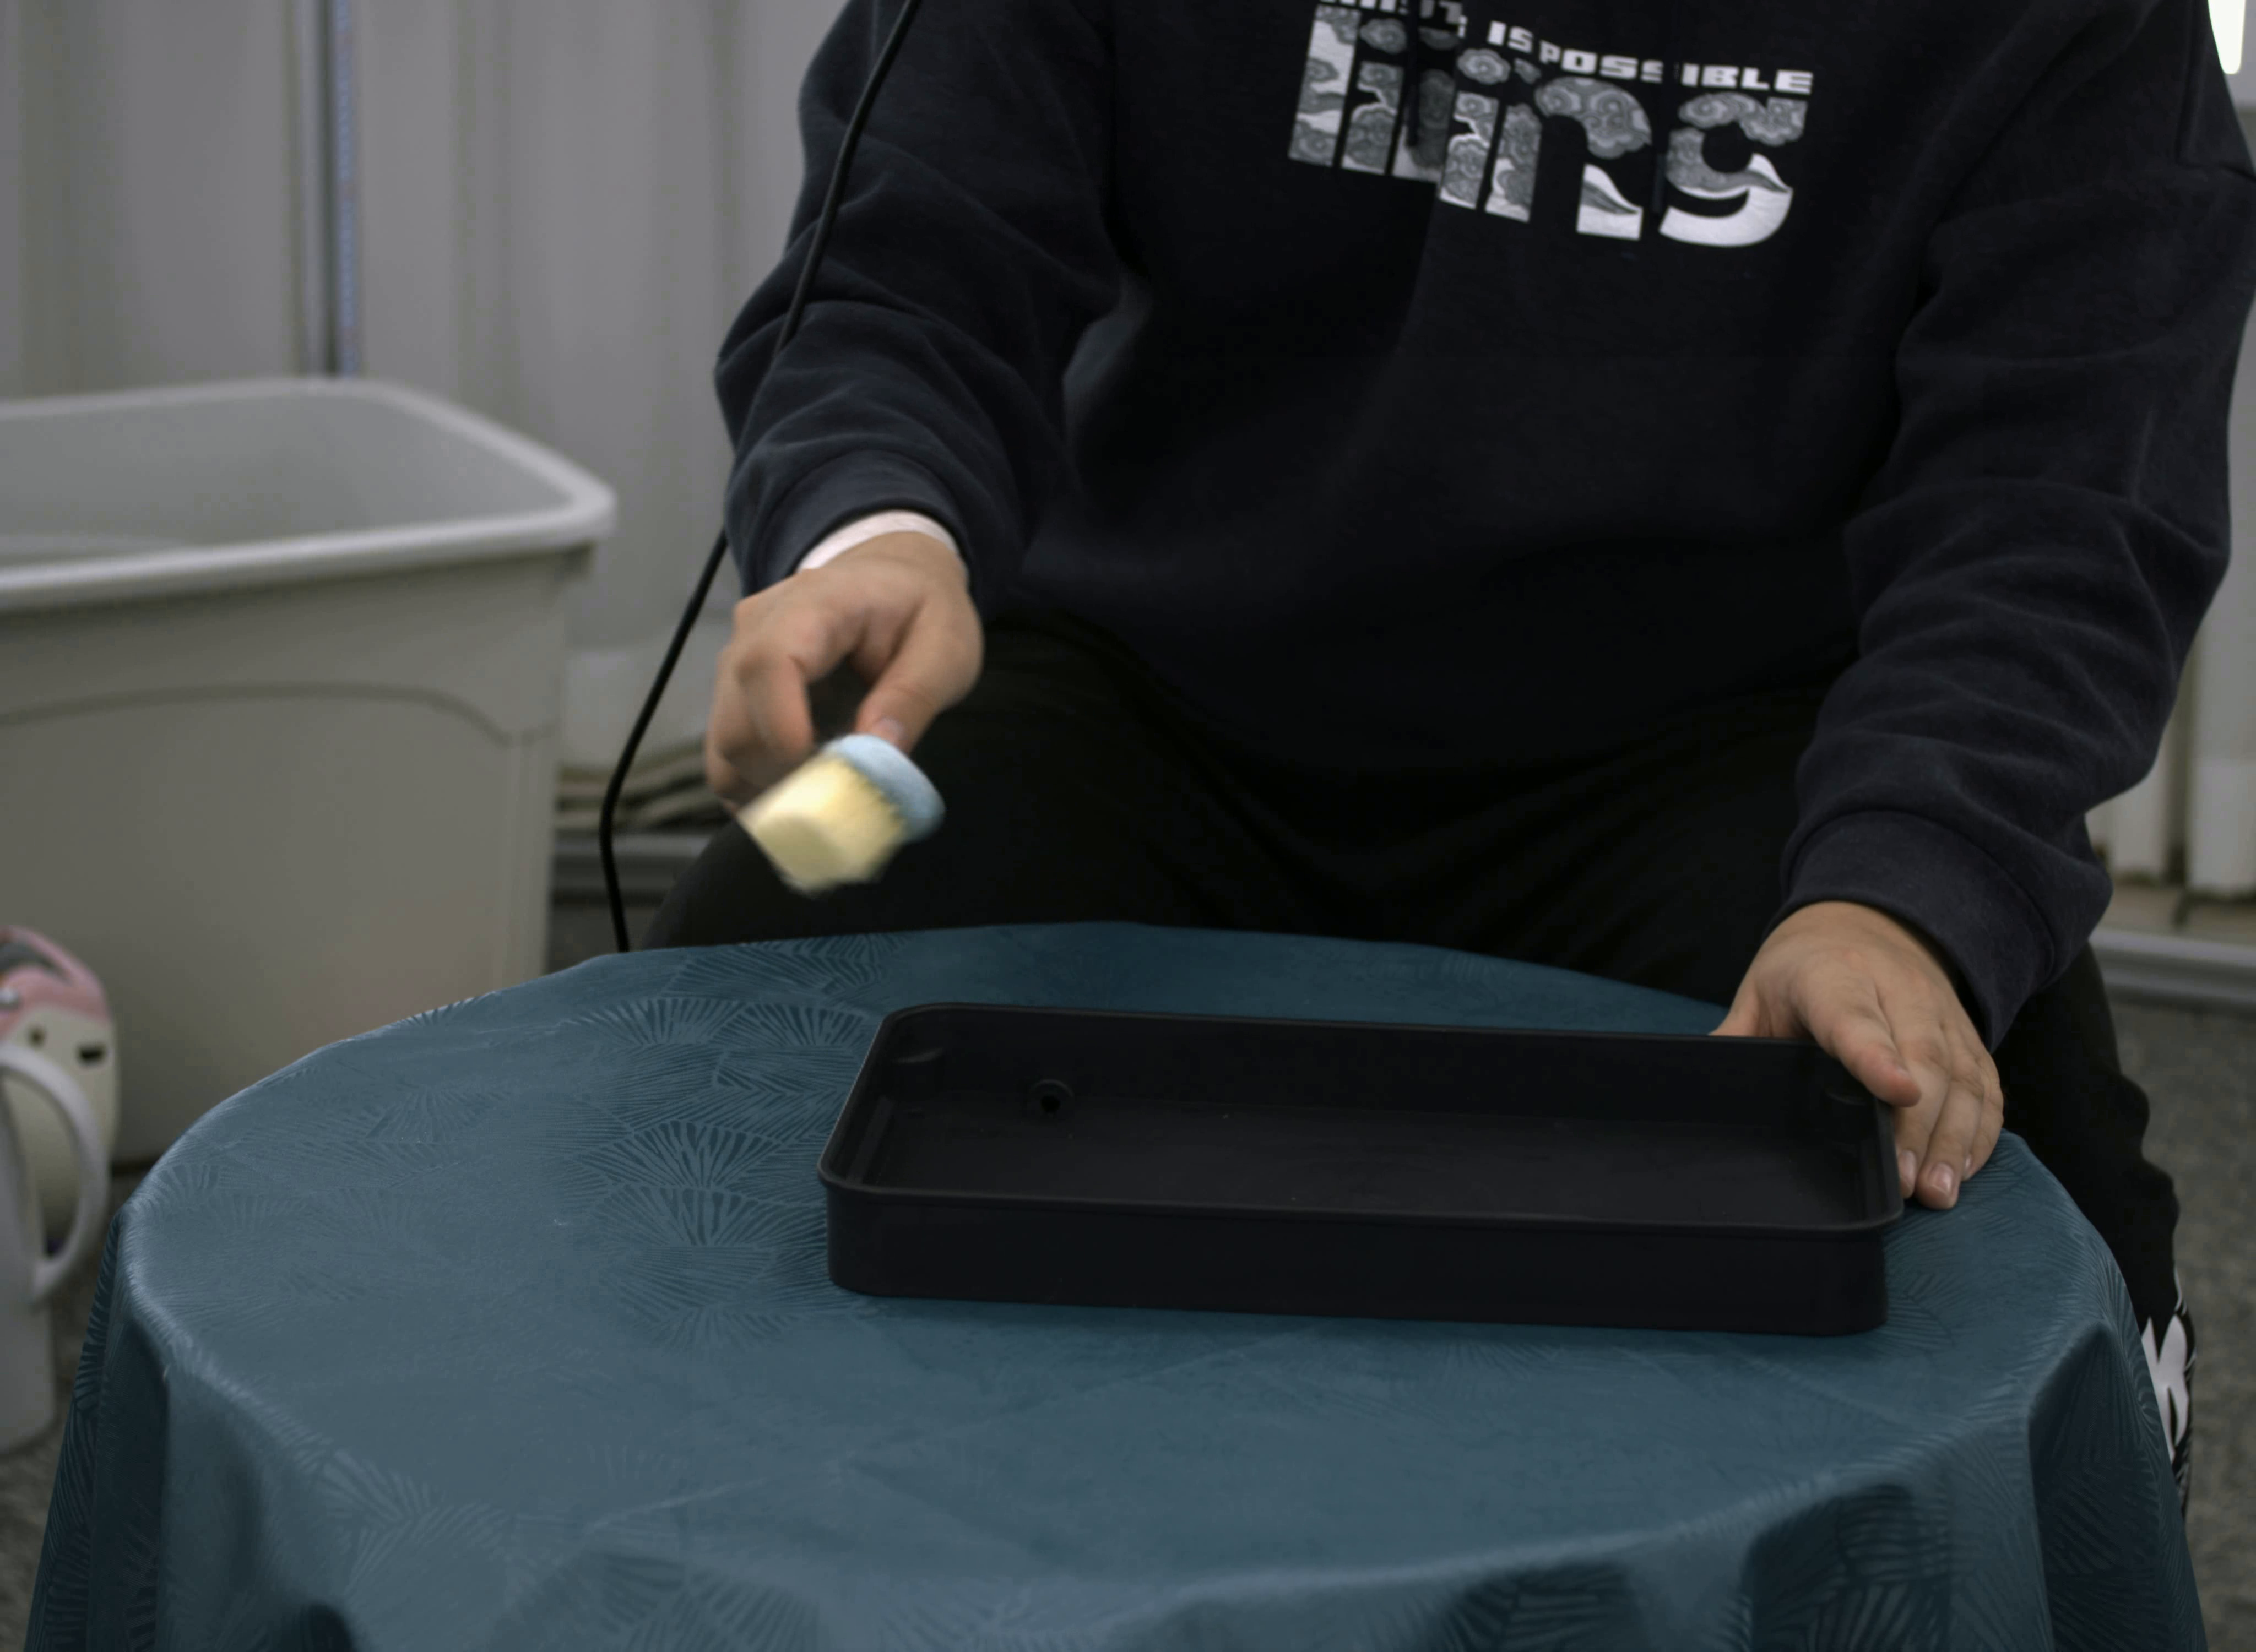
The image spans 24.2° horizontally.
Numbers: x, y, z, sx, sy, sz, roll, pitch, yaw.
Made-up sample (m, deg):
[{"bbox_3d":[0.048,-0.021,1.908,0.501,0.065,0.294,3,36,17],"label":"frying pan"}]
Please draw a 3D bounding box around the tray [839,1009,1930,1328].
[{"bbox_3d":[0.078,0.102,1.601,0.316,0.037,0.183,1,15,3],"label":"tray"}]

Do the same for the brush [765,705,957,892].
[{"bbox_3d":[-0.093,-0.011,1.640,0.038,0.049,0.227,43,-2,-13],"label":"brush"}]
